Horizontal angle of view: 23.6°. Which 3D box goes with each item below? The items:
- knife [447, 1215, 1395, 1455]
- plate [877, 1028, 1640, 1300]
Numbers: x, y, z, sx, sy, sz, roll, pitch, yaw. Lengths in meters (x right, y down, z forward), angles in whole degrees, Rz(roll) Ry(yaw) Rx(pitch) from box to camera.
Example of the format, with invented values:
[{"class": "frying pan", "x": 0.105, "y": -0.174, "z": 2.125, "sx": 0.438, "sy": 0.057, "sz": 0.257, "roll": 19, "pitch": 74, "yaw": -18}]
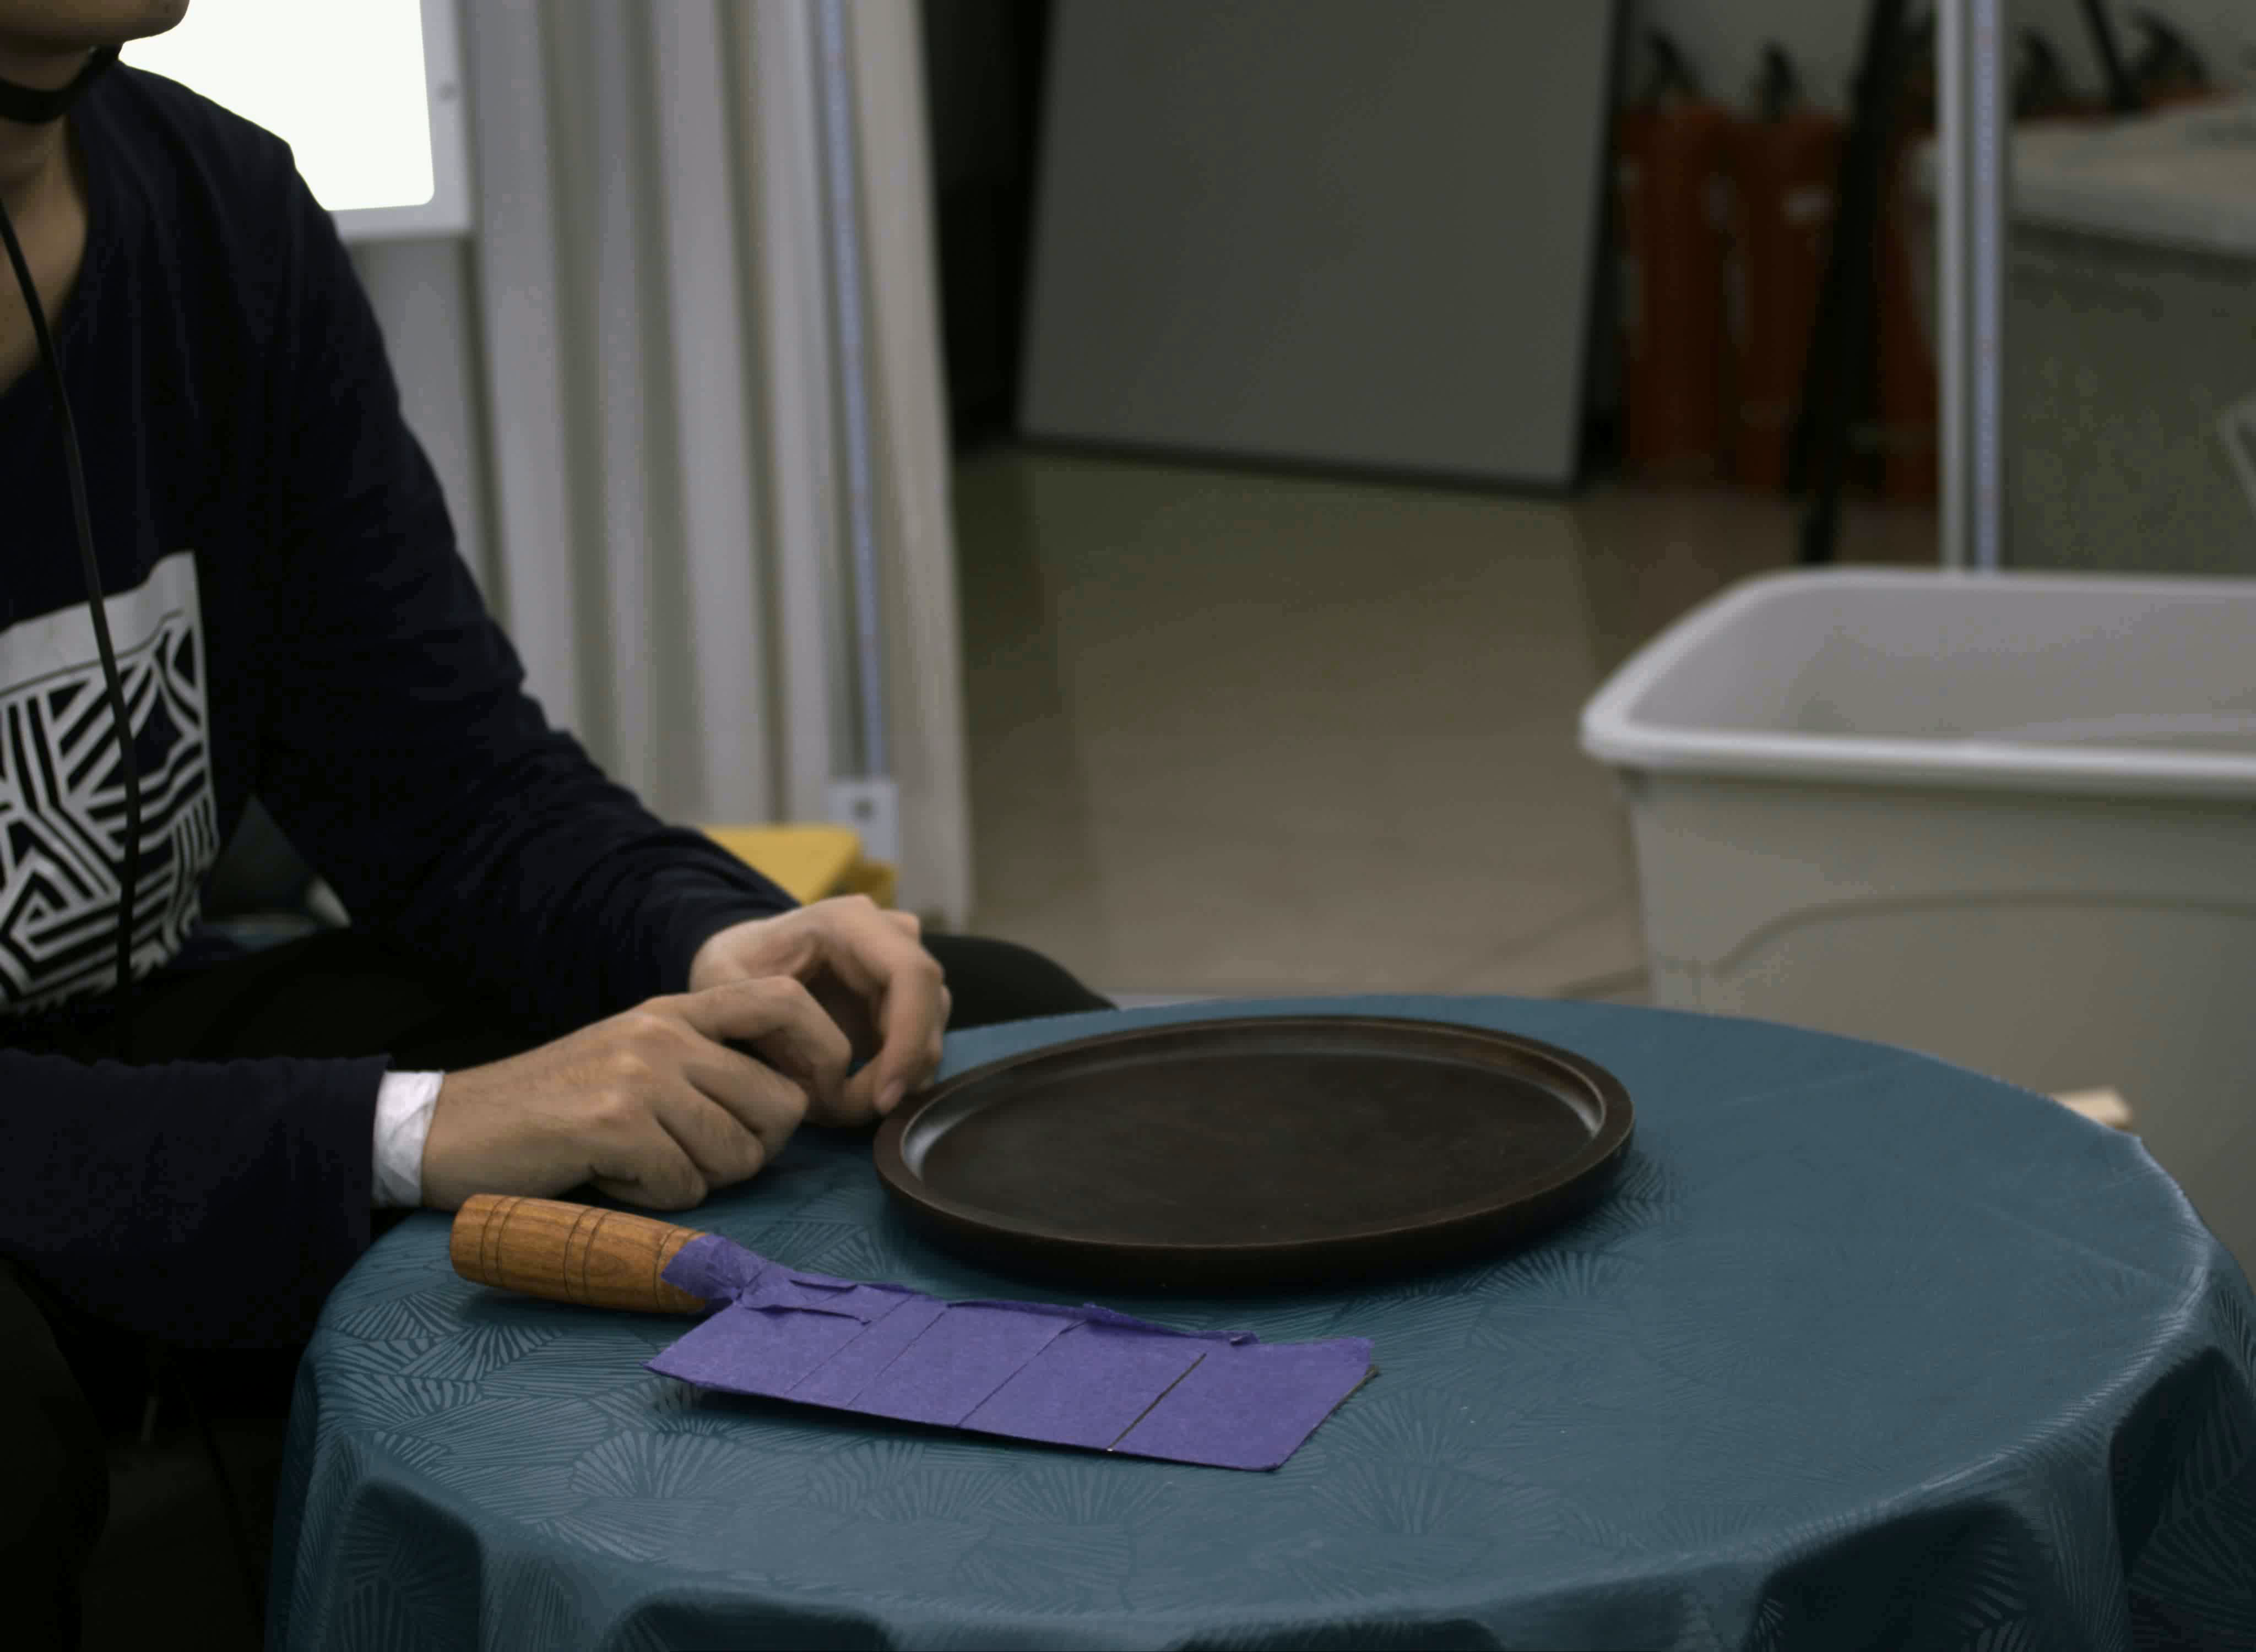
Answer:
[{"class": "knife", "x": -0.080, "y": 0.152, "z": 1.616, "sx": 0.316, "sy": 0.032, "sz": 0.102, "roll": 3, "pitch": 15, "yaw": 26}, {"class": "plate", "x": 0.043, "y": 0.108, "z": 1.768, "sx": 0.251, "sy": 0.029, "sz": 0.255, "roll": -3, "pitch": 14, "yaw": 0}]
